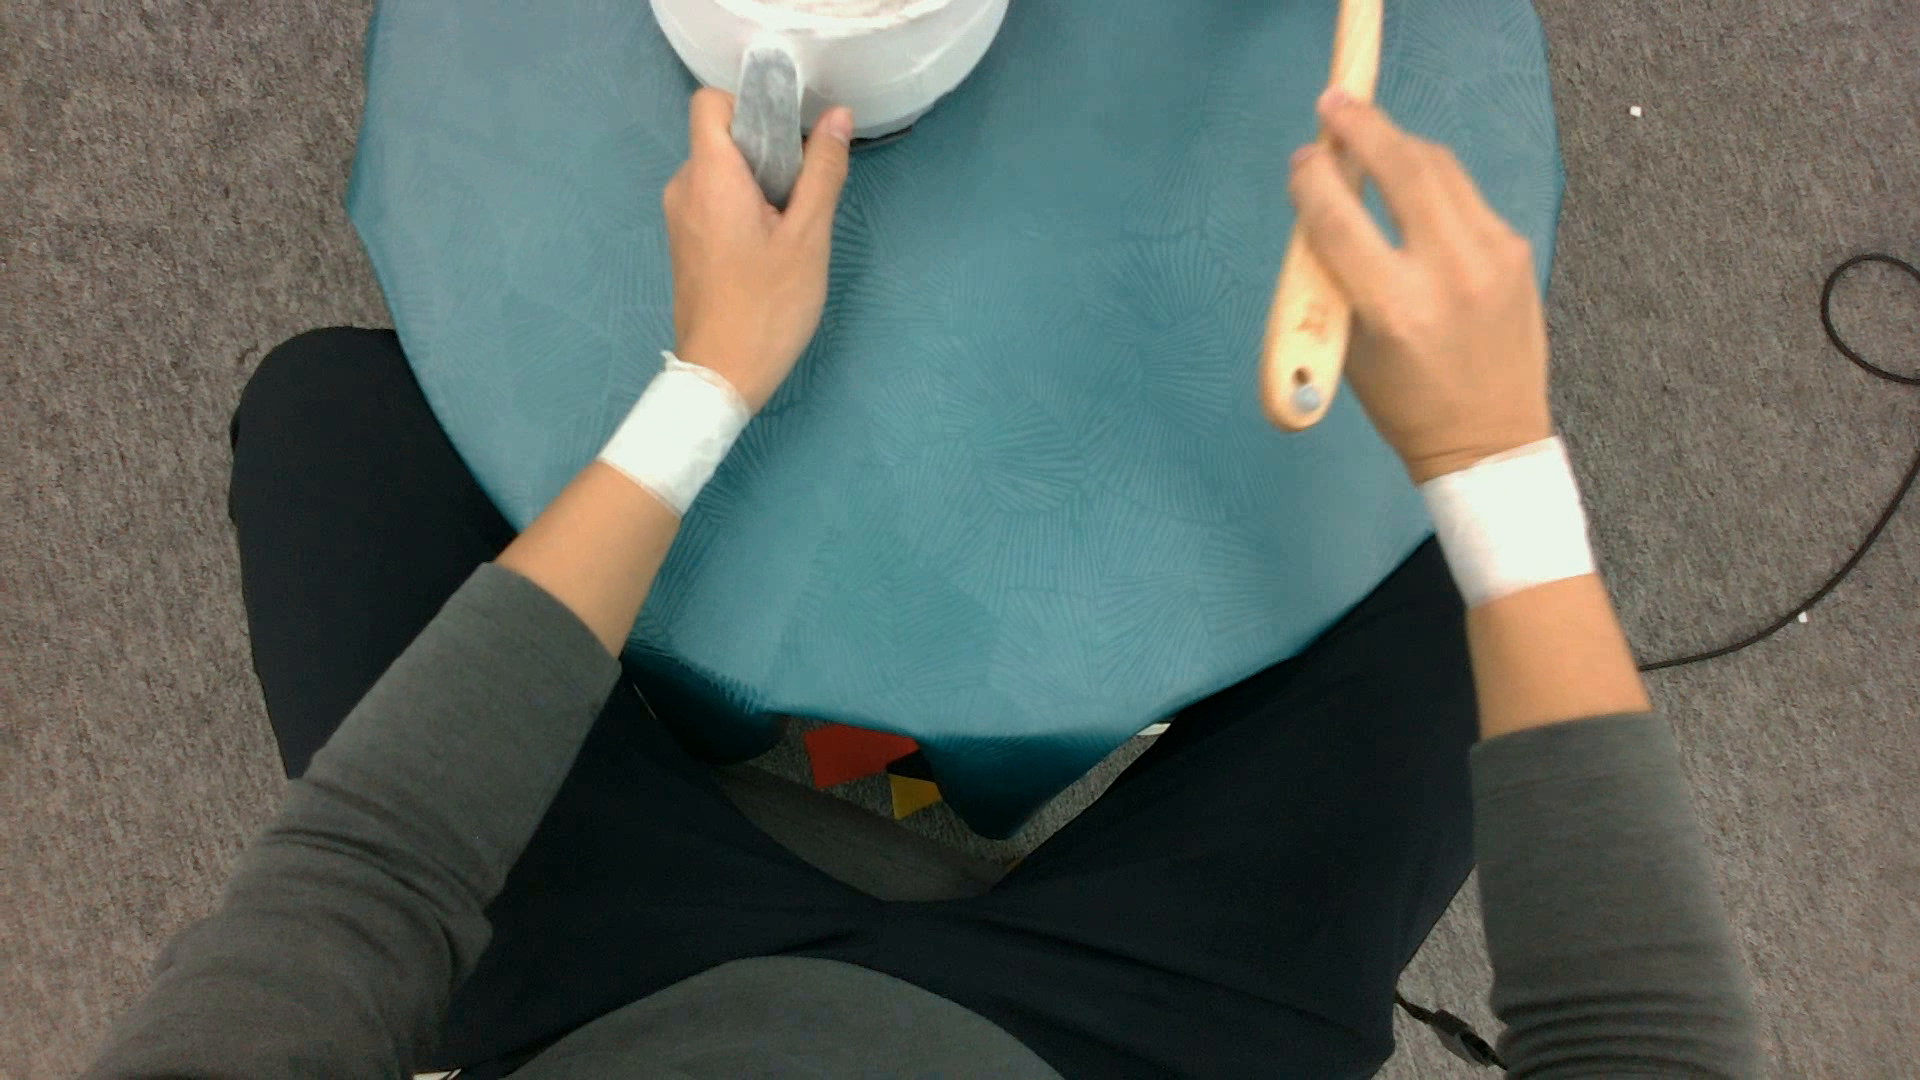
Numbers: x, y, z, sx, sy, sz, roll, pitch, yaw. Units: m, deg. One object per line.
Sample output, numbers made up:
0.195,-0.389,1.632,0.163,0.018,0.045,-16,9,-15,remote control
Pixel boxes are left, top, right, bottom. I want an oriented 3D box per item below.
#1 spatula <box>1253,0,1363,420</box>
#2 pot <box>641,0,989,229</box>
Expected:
0.162,-0.209,0.581,0.096,0.018,0.392,22,59,-14,spatula
-0.071,-0.264,0.621,0.179,0.136,0.234,12,84,-4,pot
